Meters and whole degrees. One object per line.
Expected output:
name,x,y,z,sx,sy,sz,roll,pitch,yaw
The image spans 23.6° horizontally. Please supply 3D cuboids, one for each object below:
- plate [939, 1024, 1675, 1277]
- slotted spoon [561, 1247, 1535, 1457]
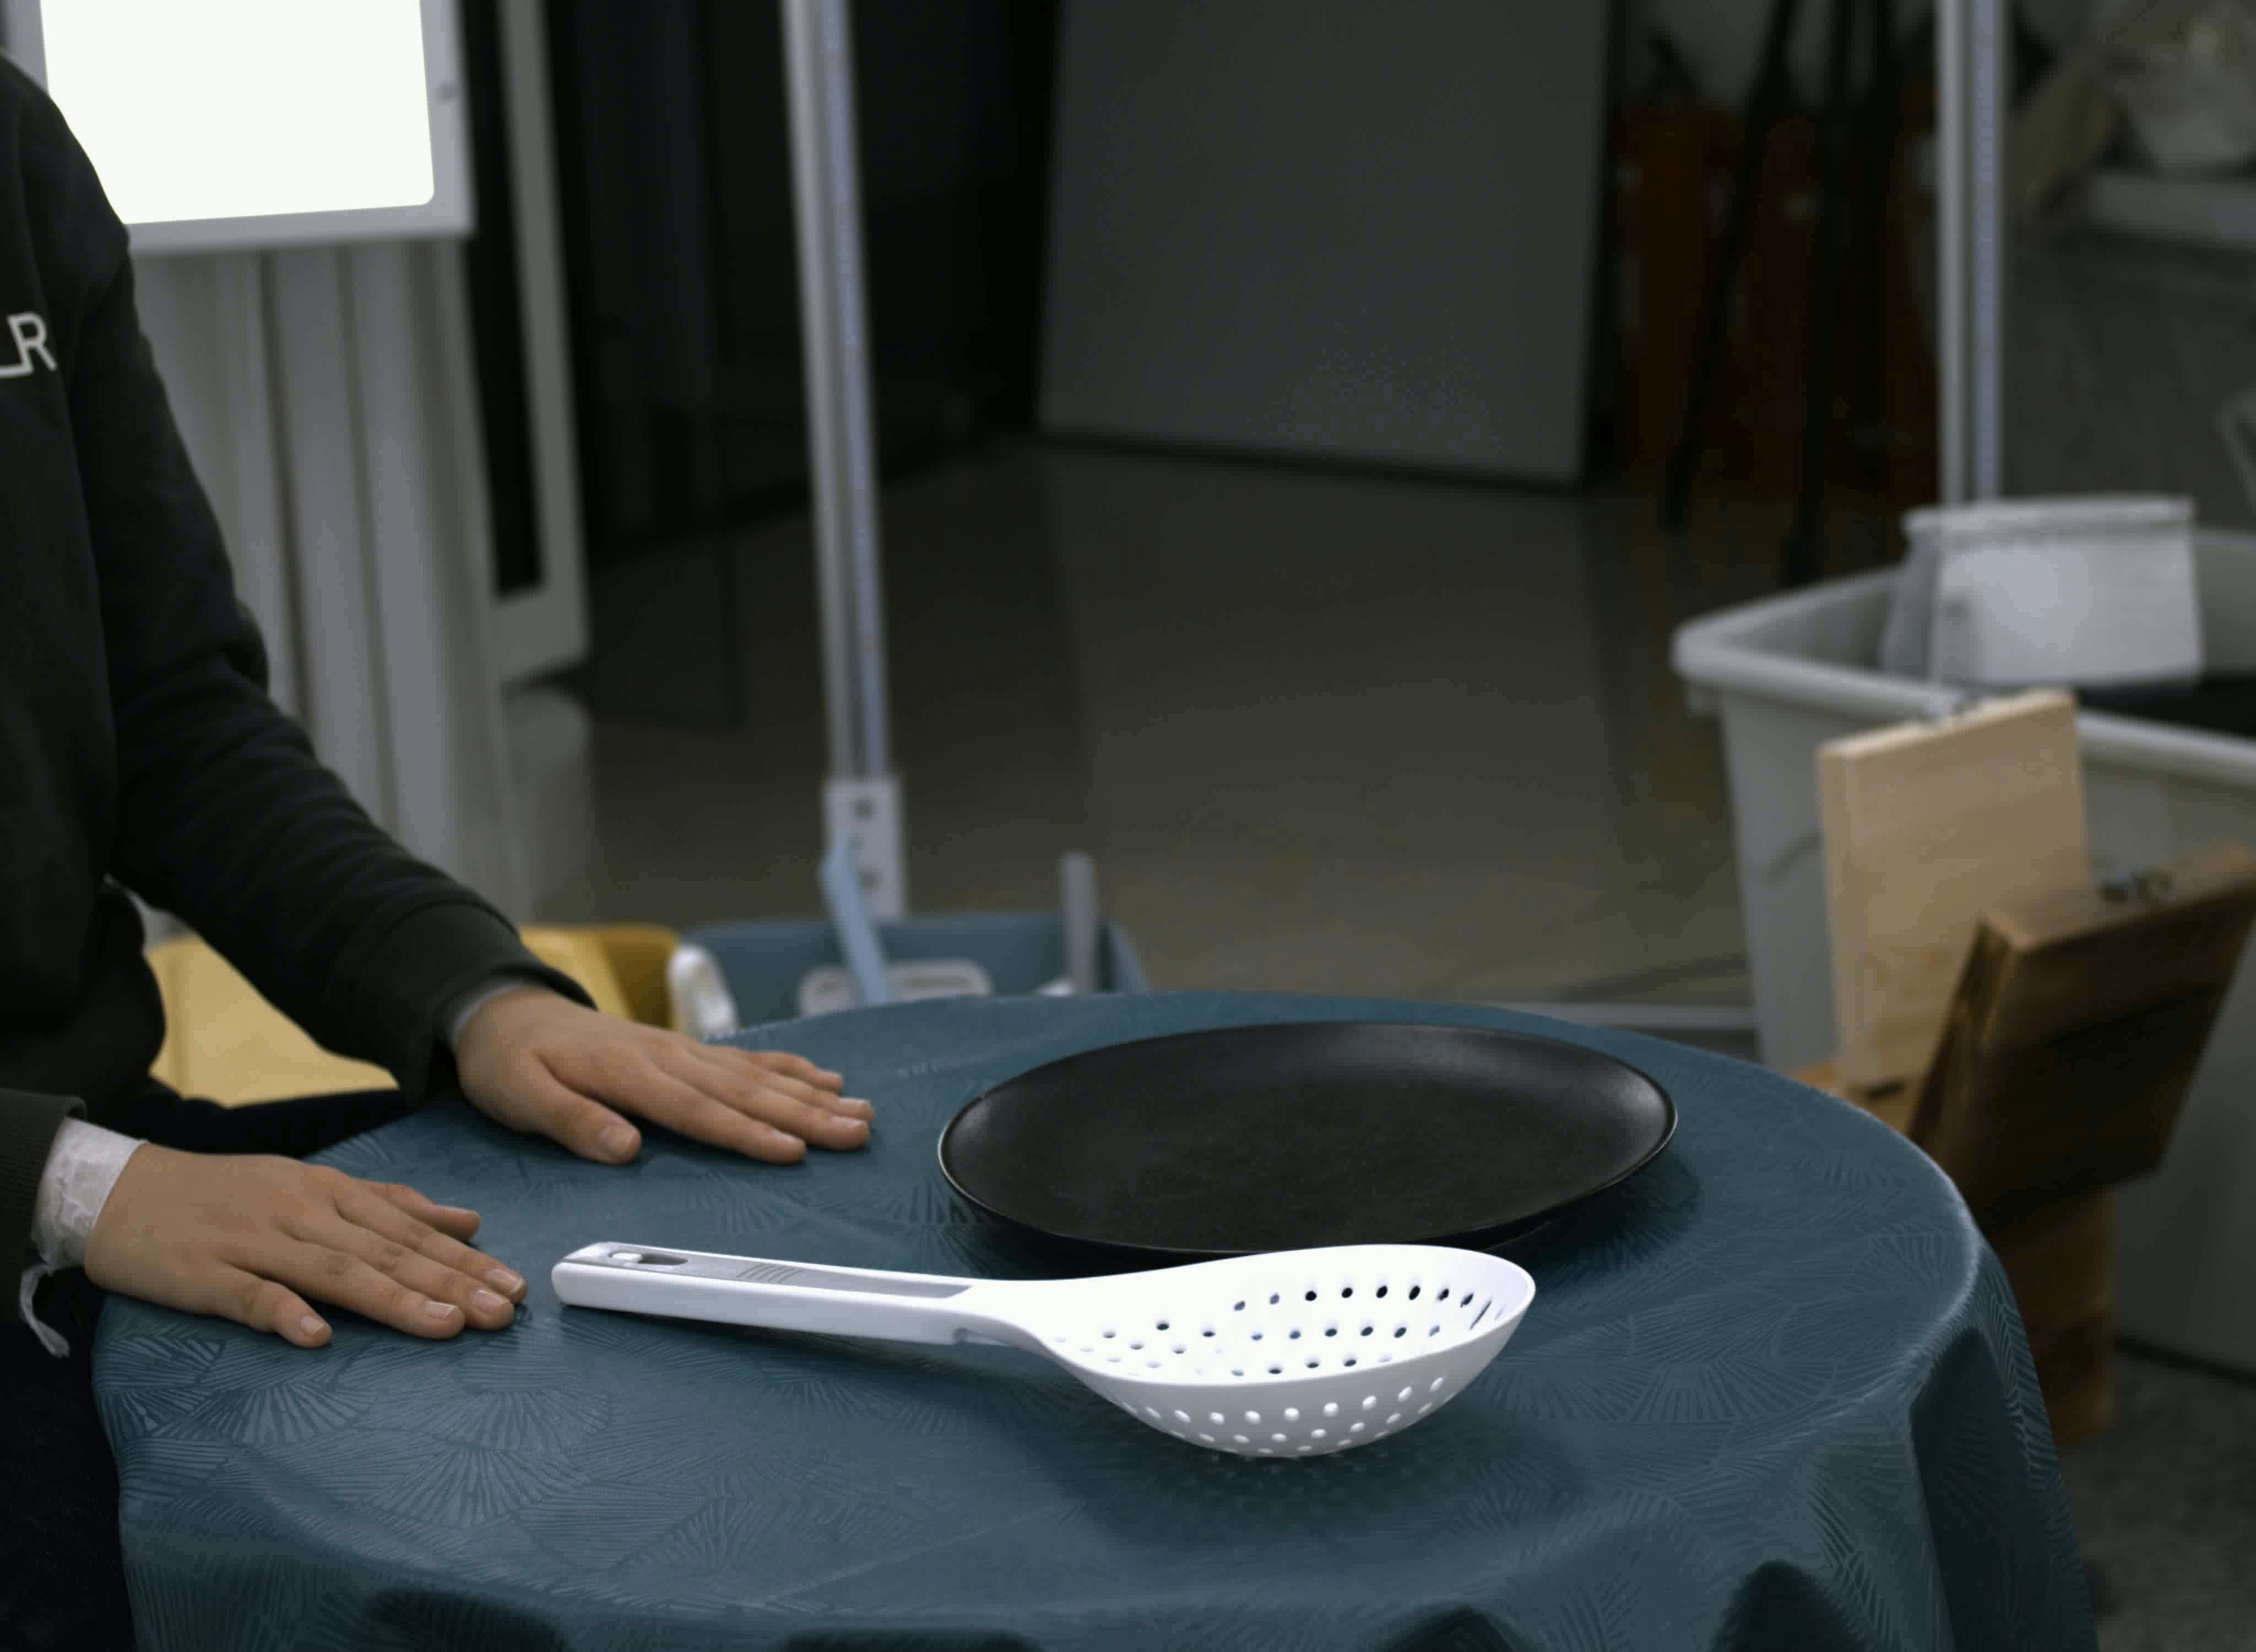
plate,0.059,0.109,1.756,0.241,0.024,0.245,-4,14,0
slotted spoon,-0.035,0.144,1.594,0.352,0.046,0.133,6,15,38
